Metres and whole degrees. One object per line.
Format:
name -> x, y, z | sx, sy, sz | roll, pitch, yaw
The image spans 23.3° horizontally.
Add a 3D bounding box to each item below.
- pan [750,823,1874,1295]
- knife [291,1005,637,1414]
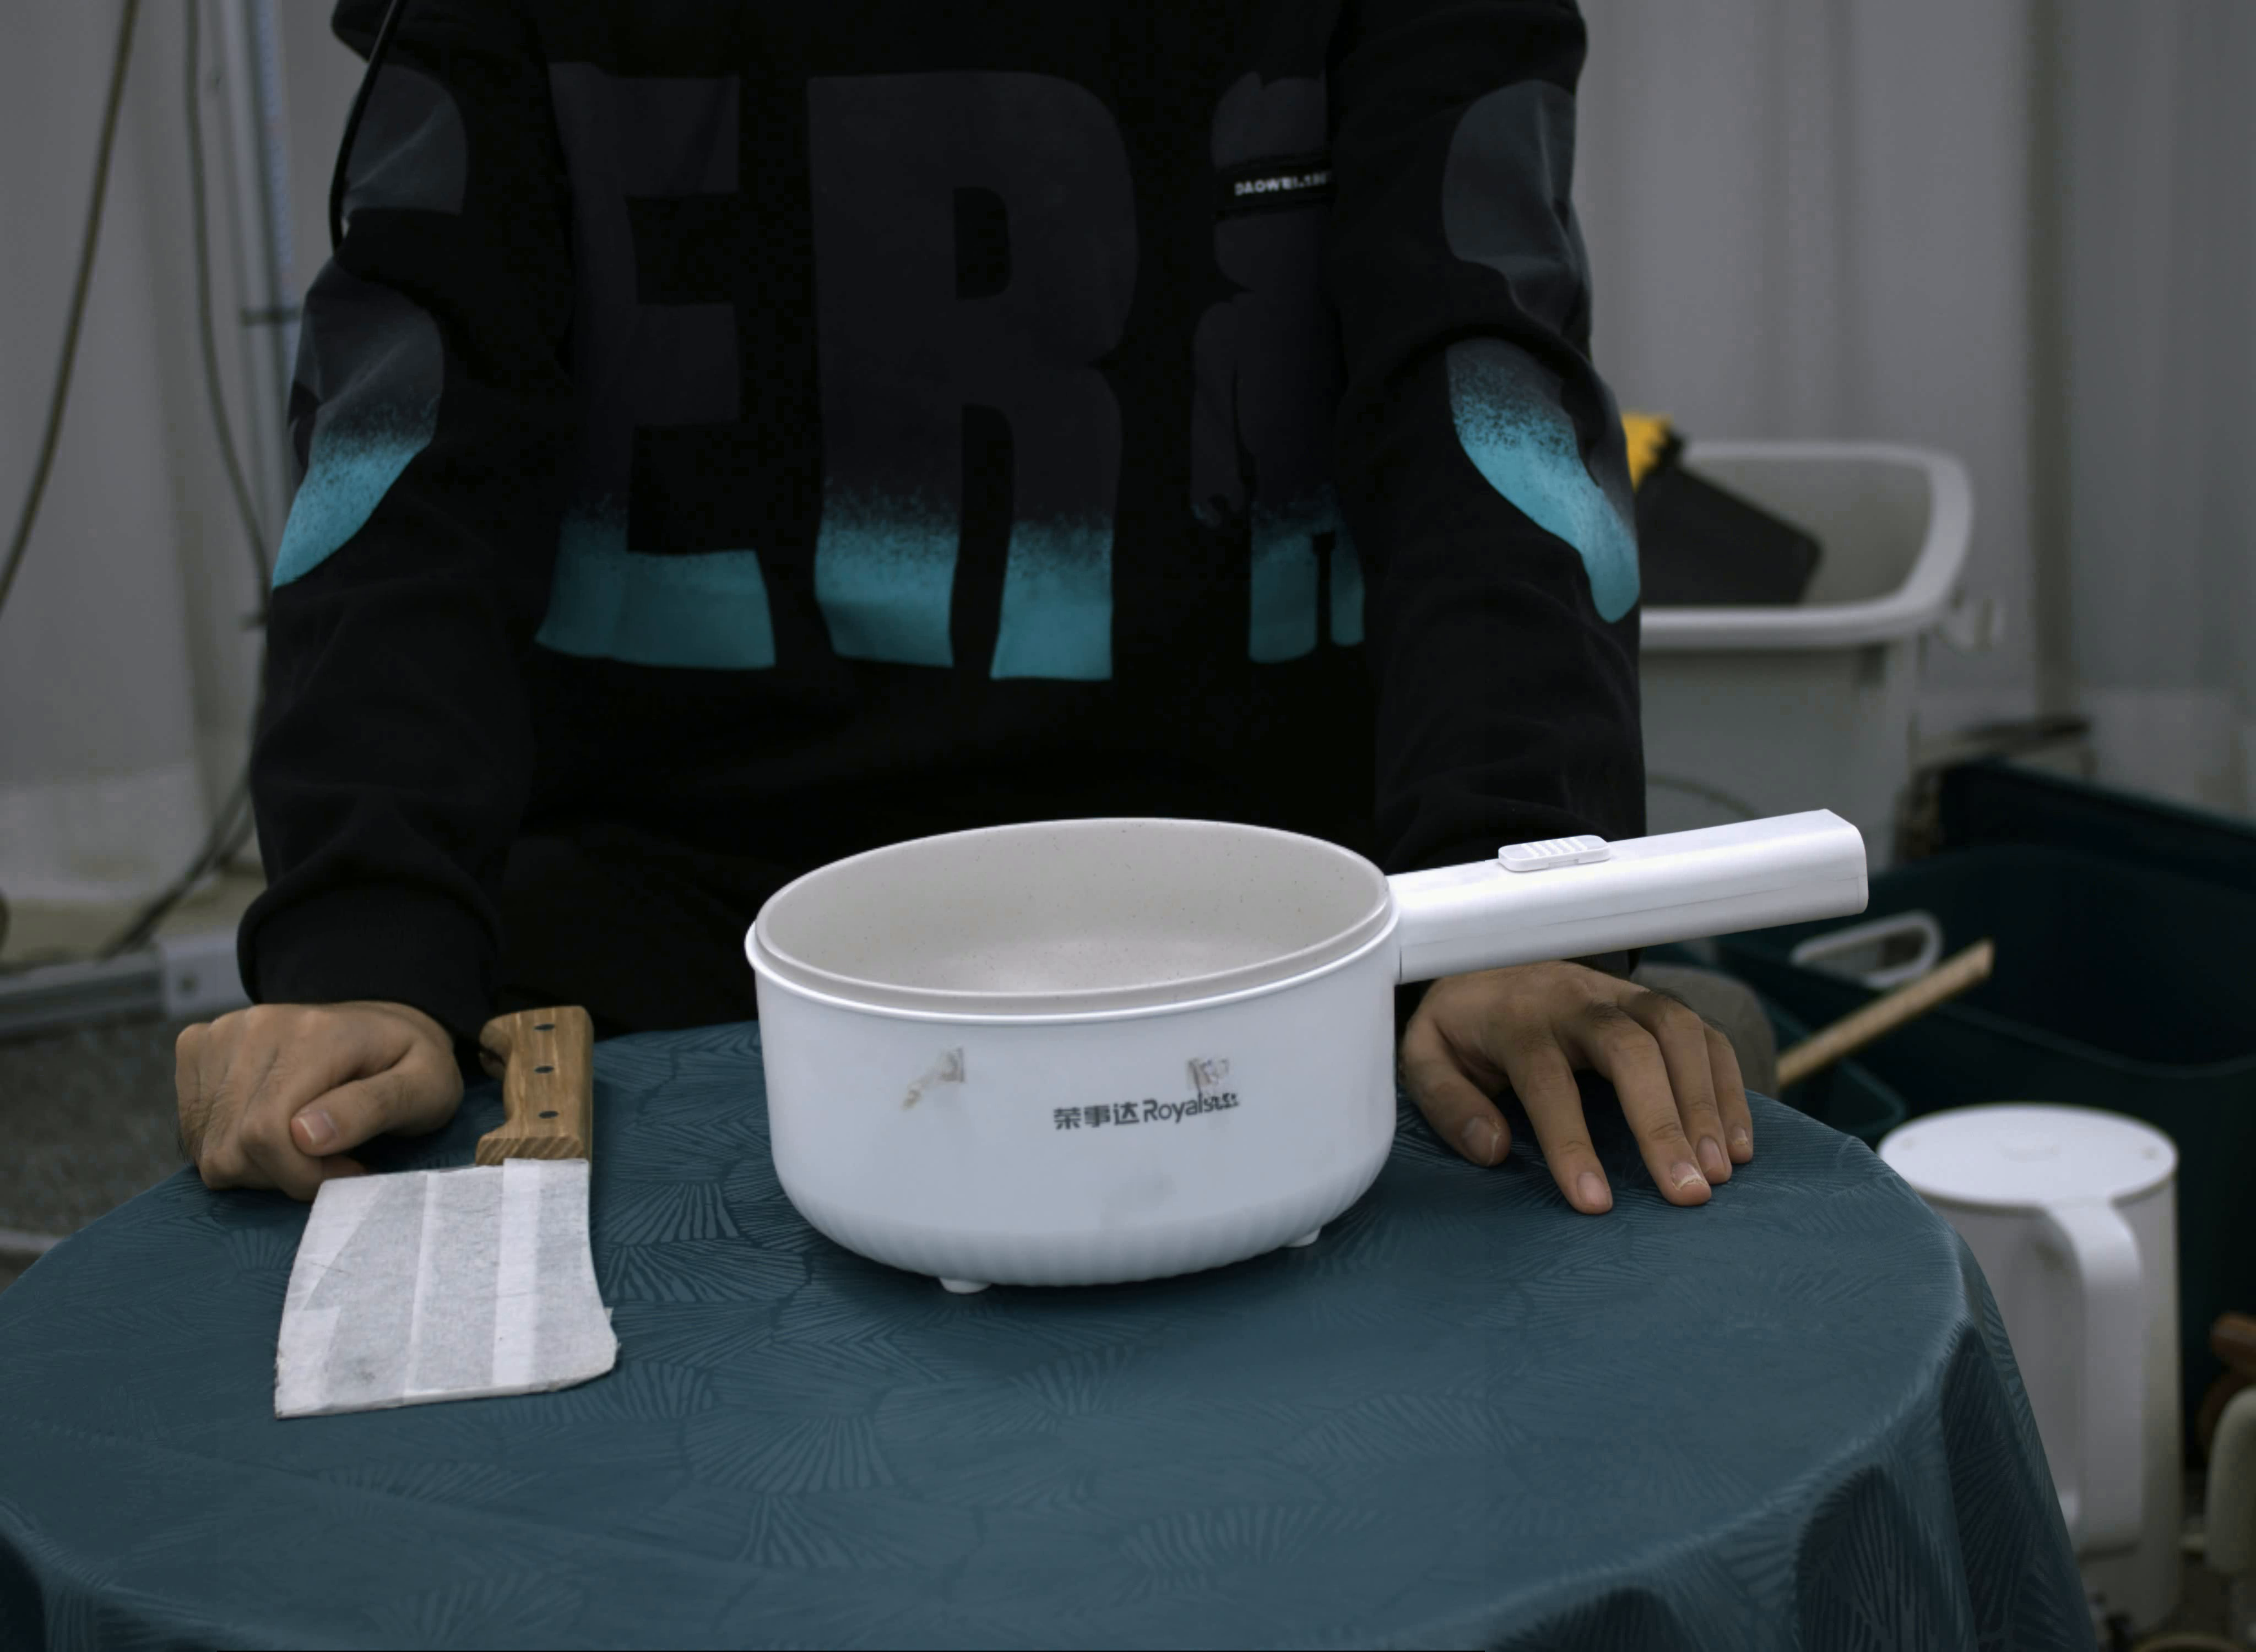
pan -> 0.060, 0.066, 1.703 | 0.353, 0.102, 0.202 | -6, 13, -14
knife -> -0.201, 0.118, 1.708 | 0.113, 0.021, 0.318 | -3, 18, 0
